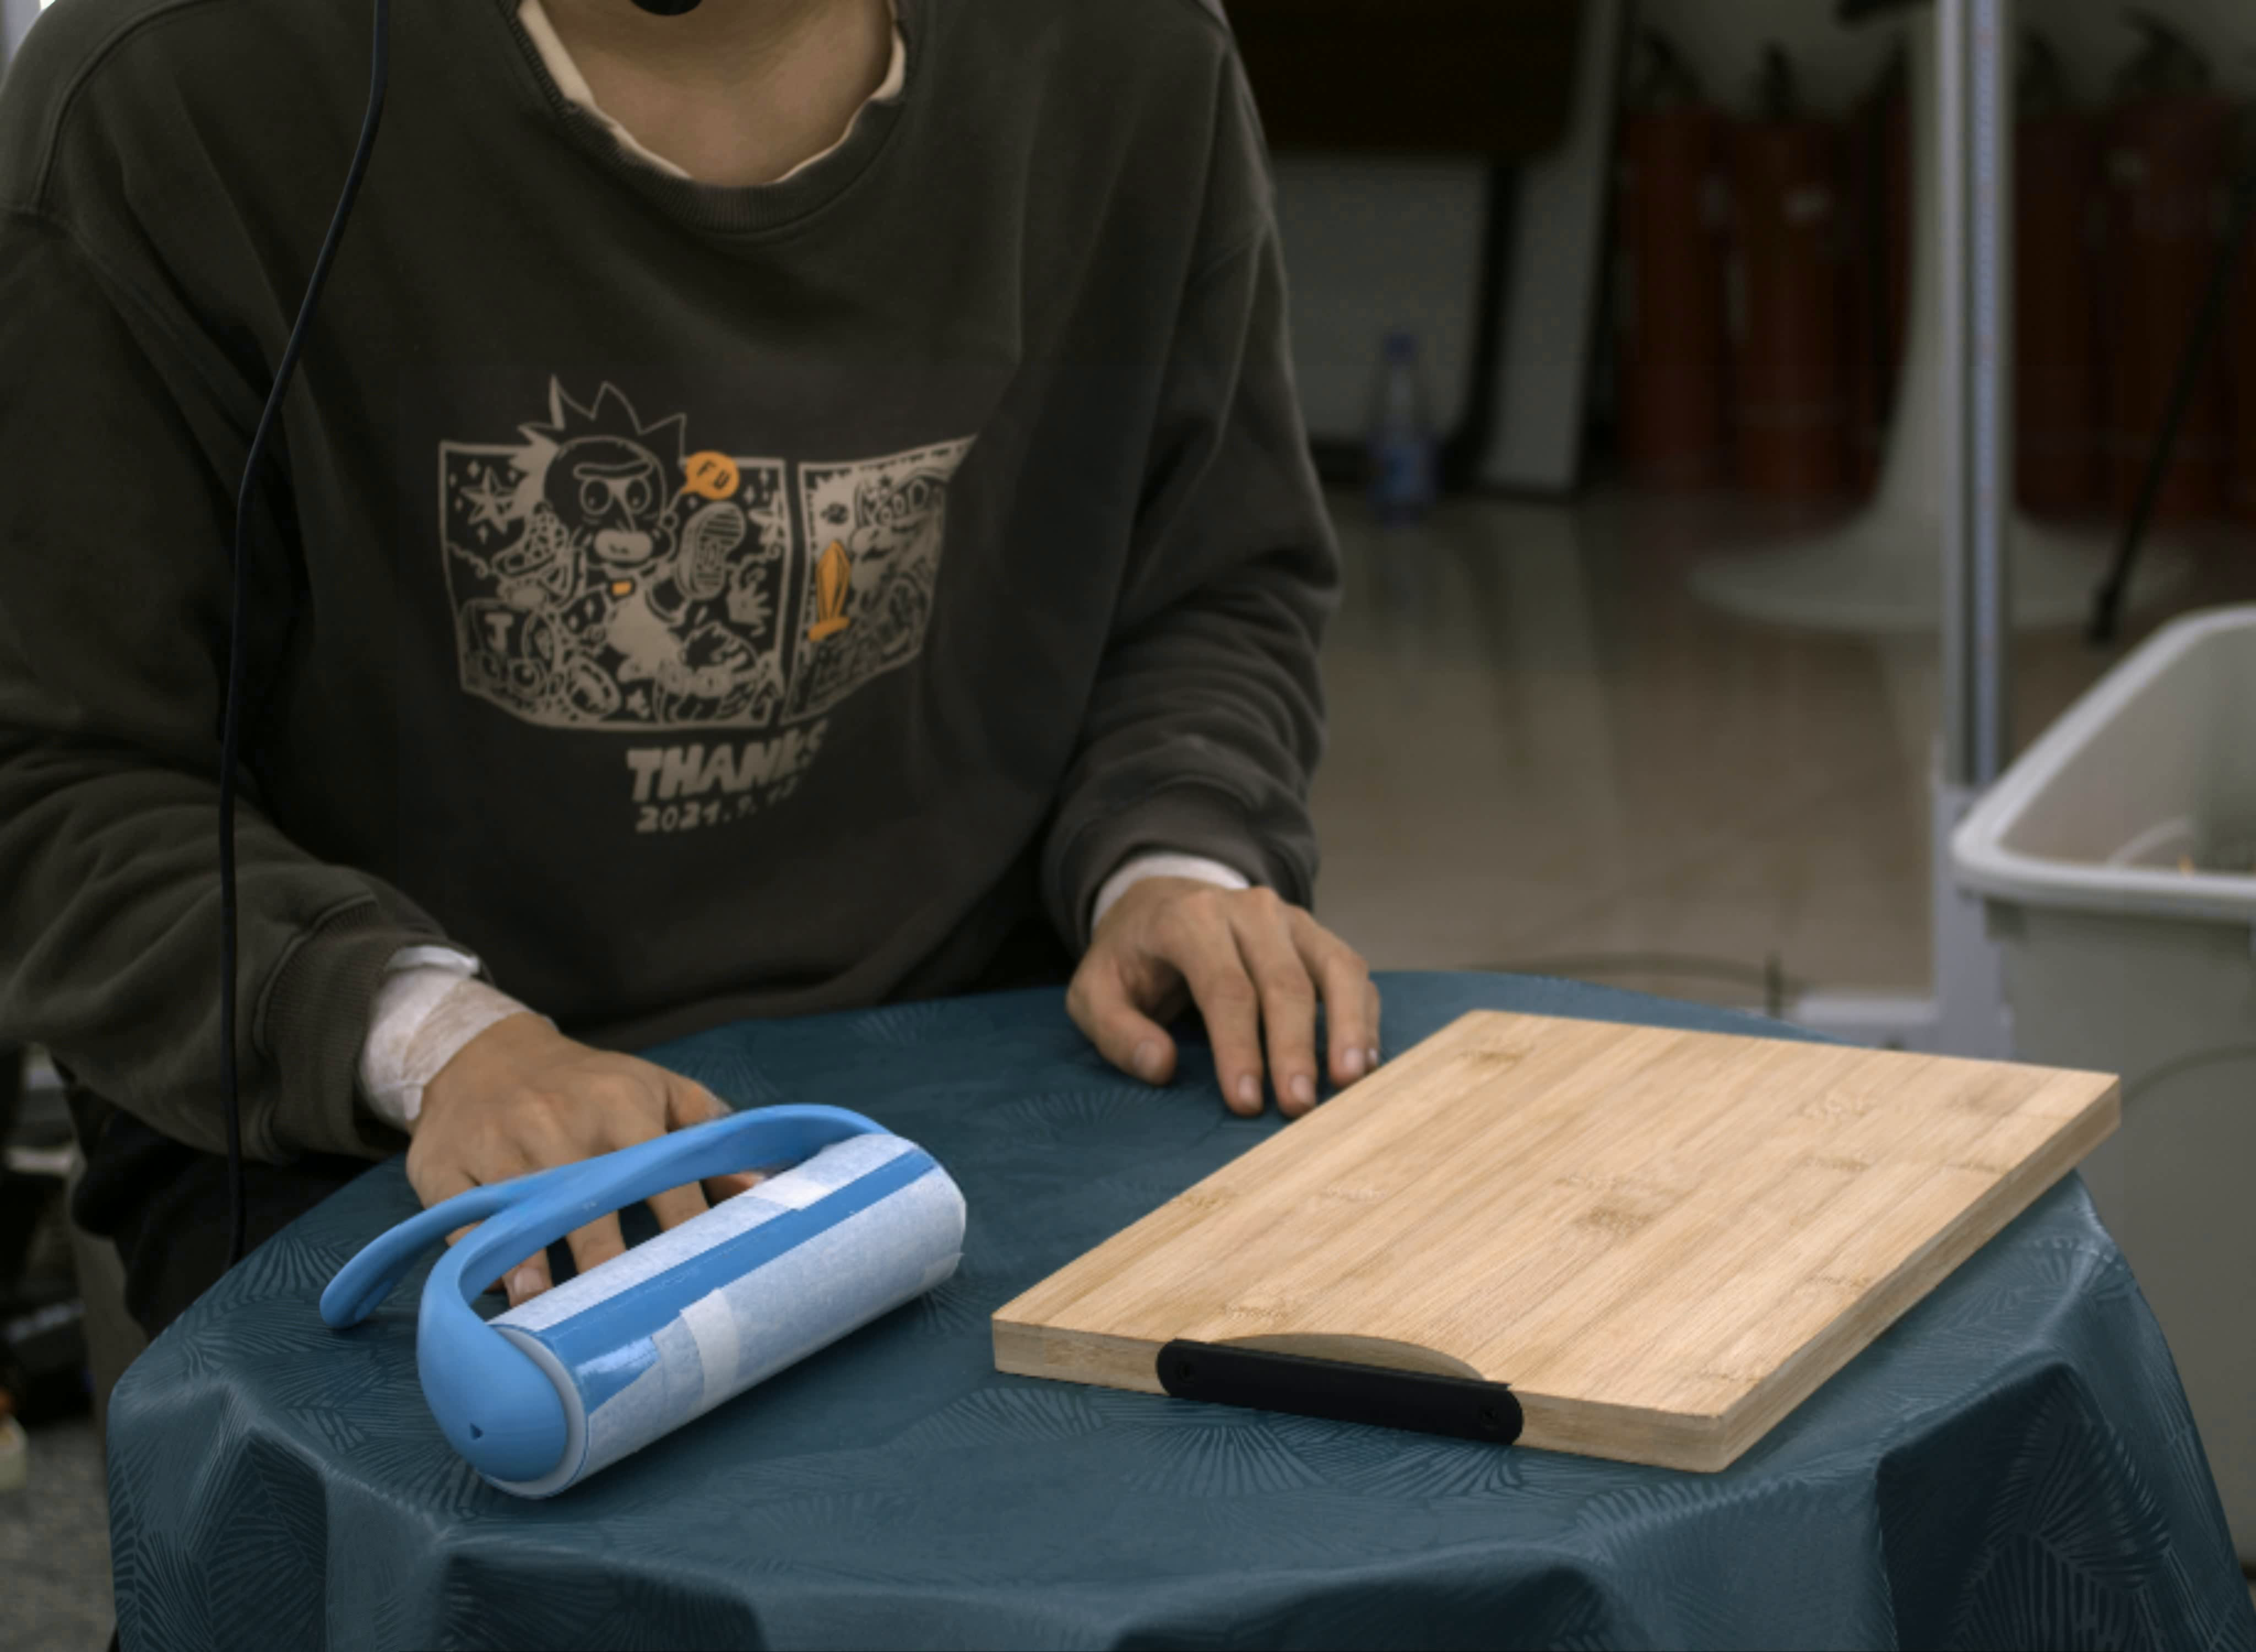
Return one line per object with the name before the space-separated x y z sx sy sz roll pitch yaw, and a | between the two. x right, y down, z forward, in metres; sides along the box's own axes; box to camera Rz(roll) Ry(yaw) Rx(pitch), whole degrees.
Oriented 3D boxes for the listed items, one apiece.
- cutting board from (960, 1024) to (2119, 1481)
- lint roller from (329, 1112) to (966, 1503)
cutting board | 0.139 0.126 1.682 0.251 0.024 0.343 3 15 29
lint roller | -0.173 0.138 1.636 0.181 0.068 0.225 6 18 31
